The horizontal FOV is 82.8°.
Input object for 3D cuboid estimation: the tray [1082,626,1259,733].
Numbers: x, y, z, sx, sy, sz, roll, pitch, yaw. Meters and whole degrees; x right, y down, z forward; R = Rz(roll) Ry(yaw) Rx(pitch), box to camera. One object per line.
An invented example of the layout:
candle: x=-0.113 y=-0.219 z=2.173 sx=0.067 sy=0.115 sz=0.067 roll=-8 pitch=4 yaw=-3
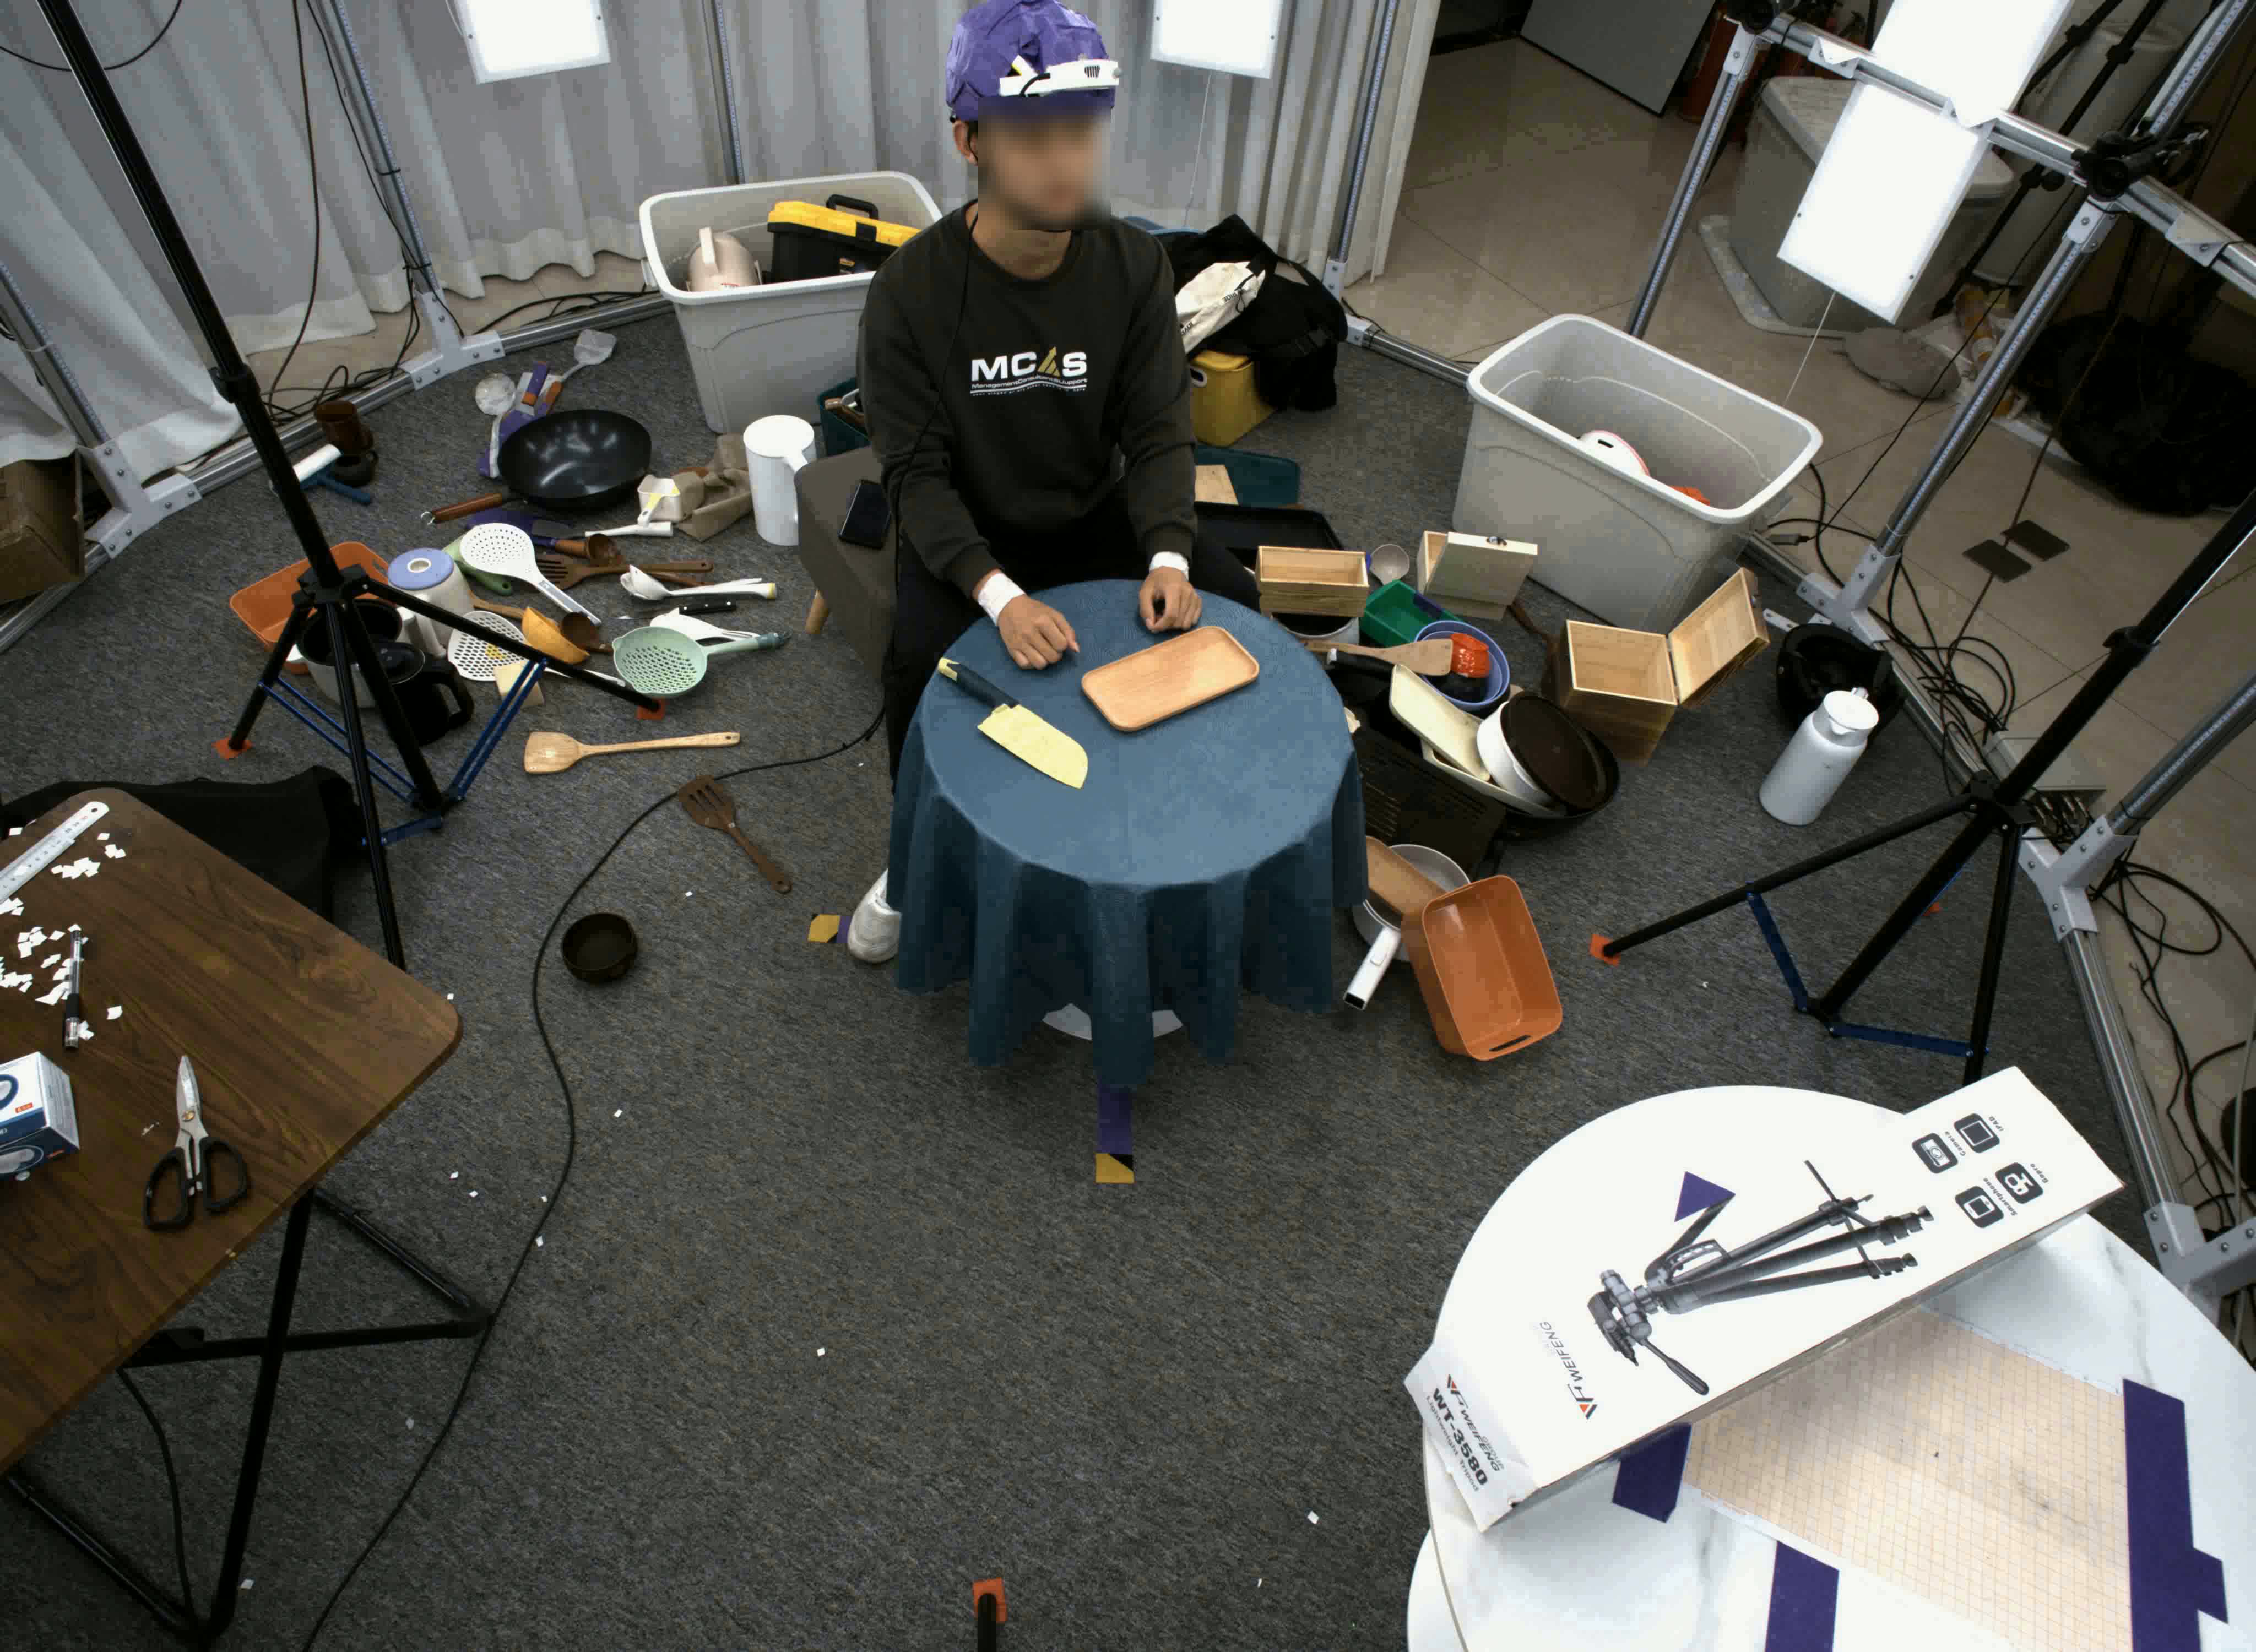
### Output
tray: x=0.062 y=-0.212 z=1.845 sx=0.251 sy=0.022 sz=0.133 roll=-24 pitch=52 yaw=-22

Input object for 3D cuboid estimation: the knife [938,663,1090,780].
knife: x=-0.164 y=-0.143 z=1.771 sx=0.293 sy=0.026 sz=0.082 roll=36 pitch=54 yaw=23
